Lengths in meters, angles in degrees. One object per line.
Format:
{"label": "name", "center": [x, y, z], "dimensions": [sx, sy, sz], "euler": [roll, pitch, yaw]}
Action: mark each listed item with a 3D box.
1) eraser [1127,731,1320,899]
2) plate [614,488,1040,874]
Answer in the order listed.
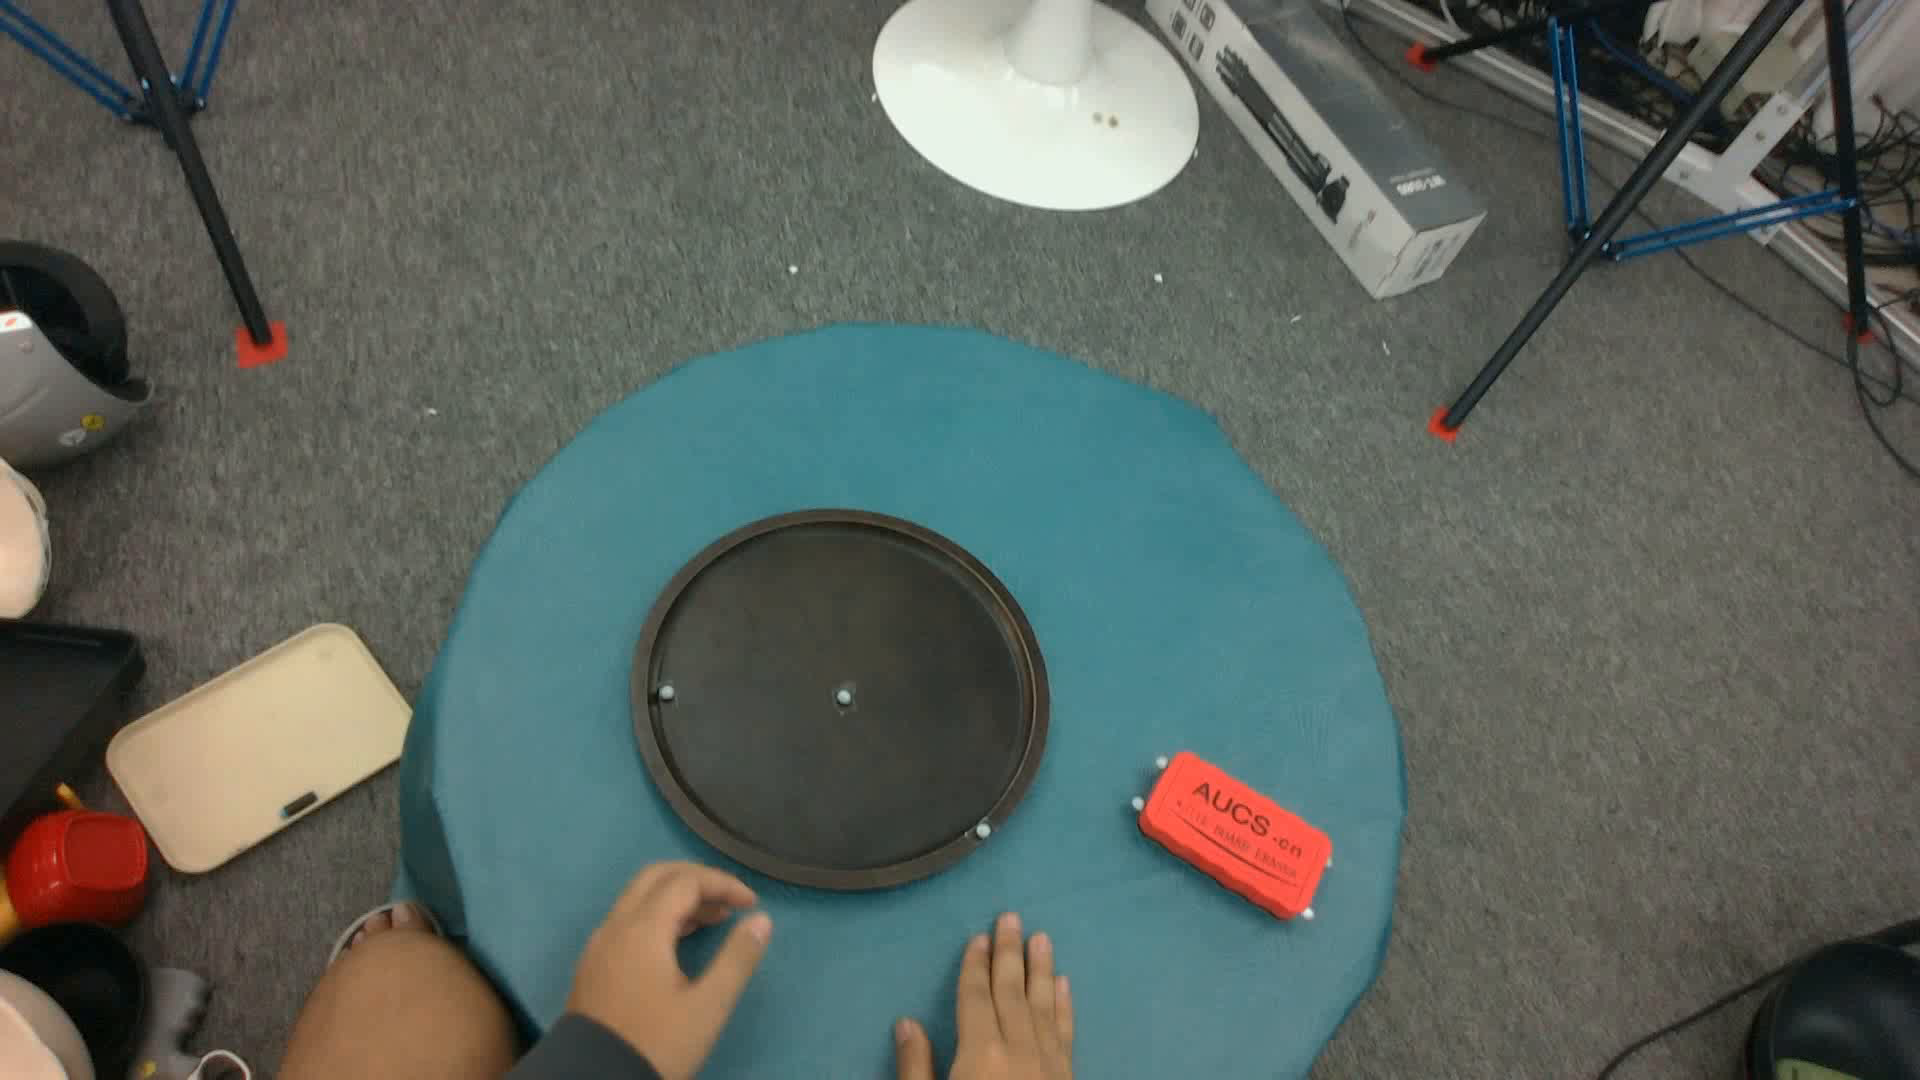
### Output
{"label": "eraser", "center": [0.158, 0.164, 0.827], "dimensions": [0.108, 0.023, 0.059], "euler": [31, 57, 5]}
{"label": "plate", "center": [-0.077, 0.078, 0.827], "dimensions": [0.255, 0.029, 0.256], "euler": [7, 58, -11]}
